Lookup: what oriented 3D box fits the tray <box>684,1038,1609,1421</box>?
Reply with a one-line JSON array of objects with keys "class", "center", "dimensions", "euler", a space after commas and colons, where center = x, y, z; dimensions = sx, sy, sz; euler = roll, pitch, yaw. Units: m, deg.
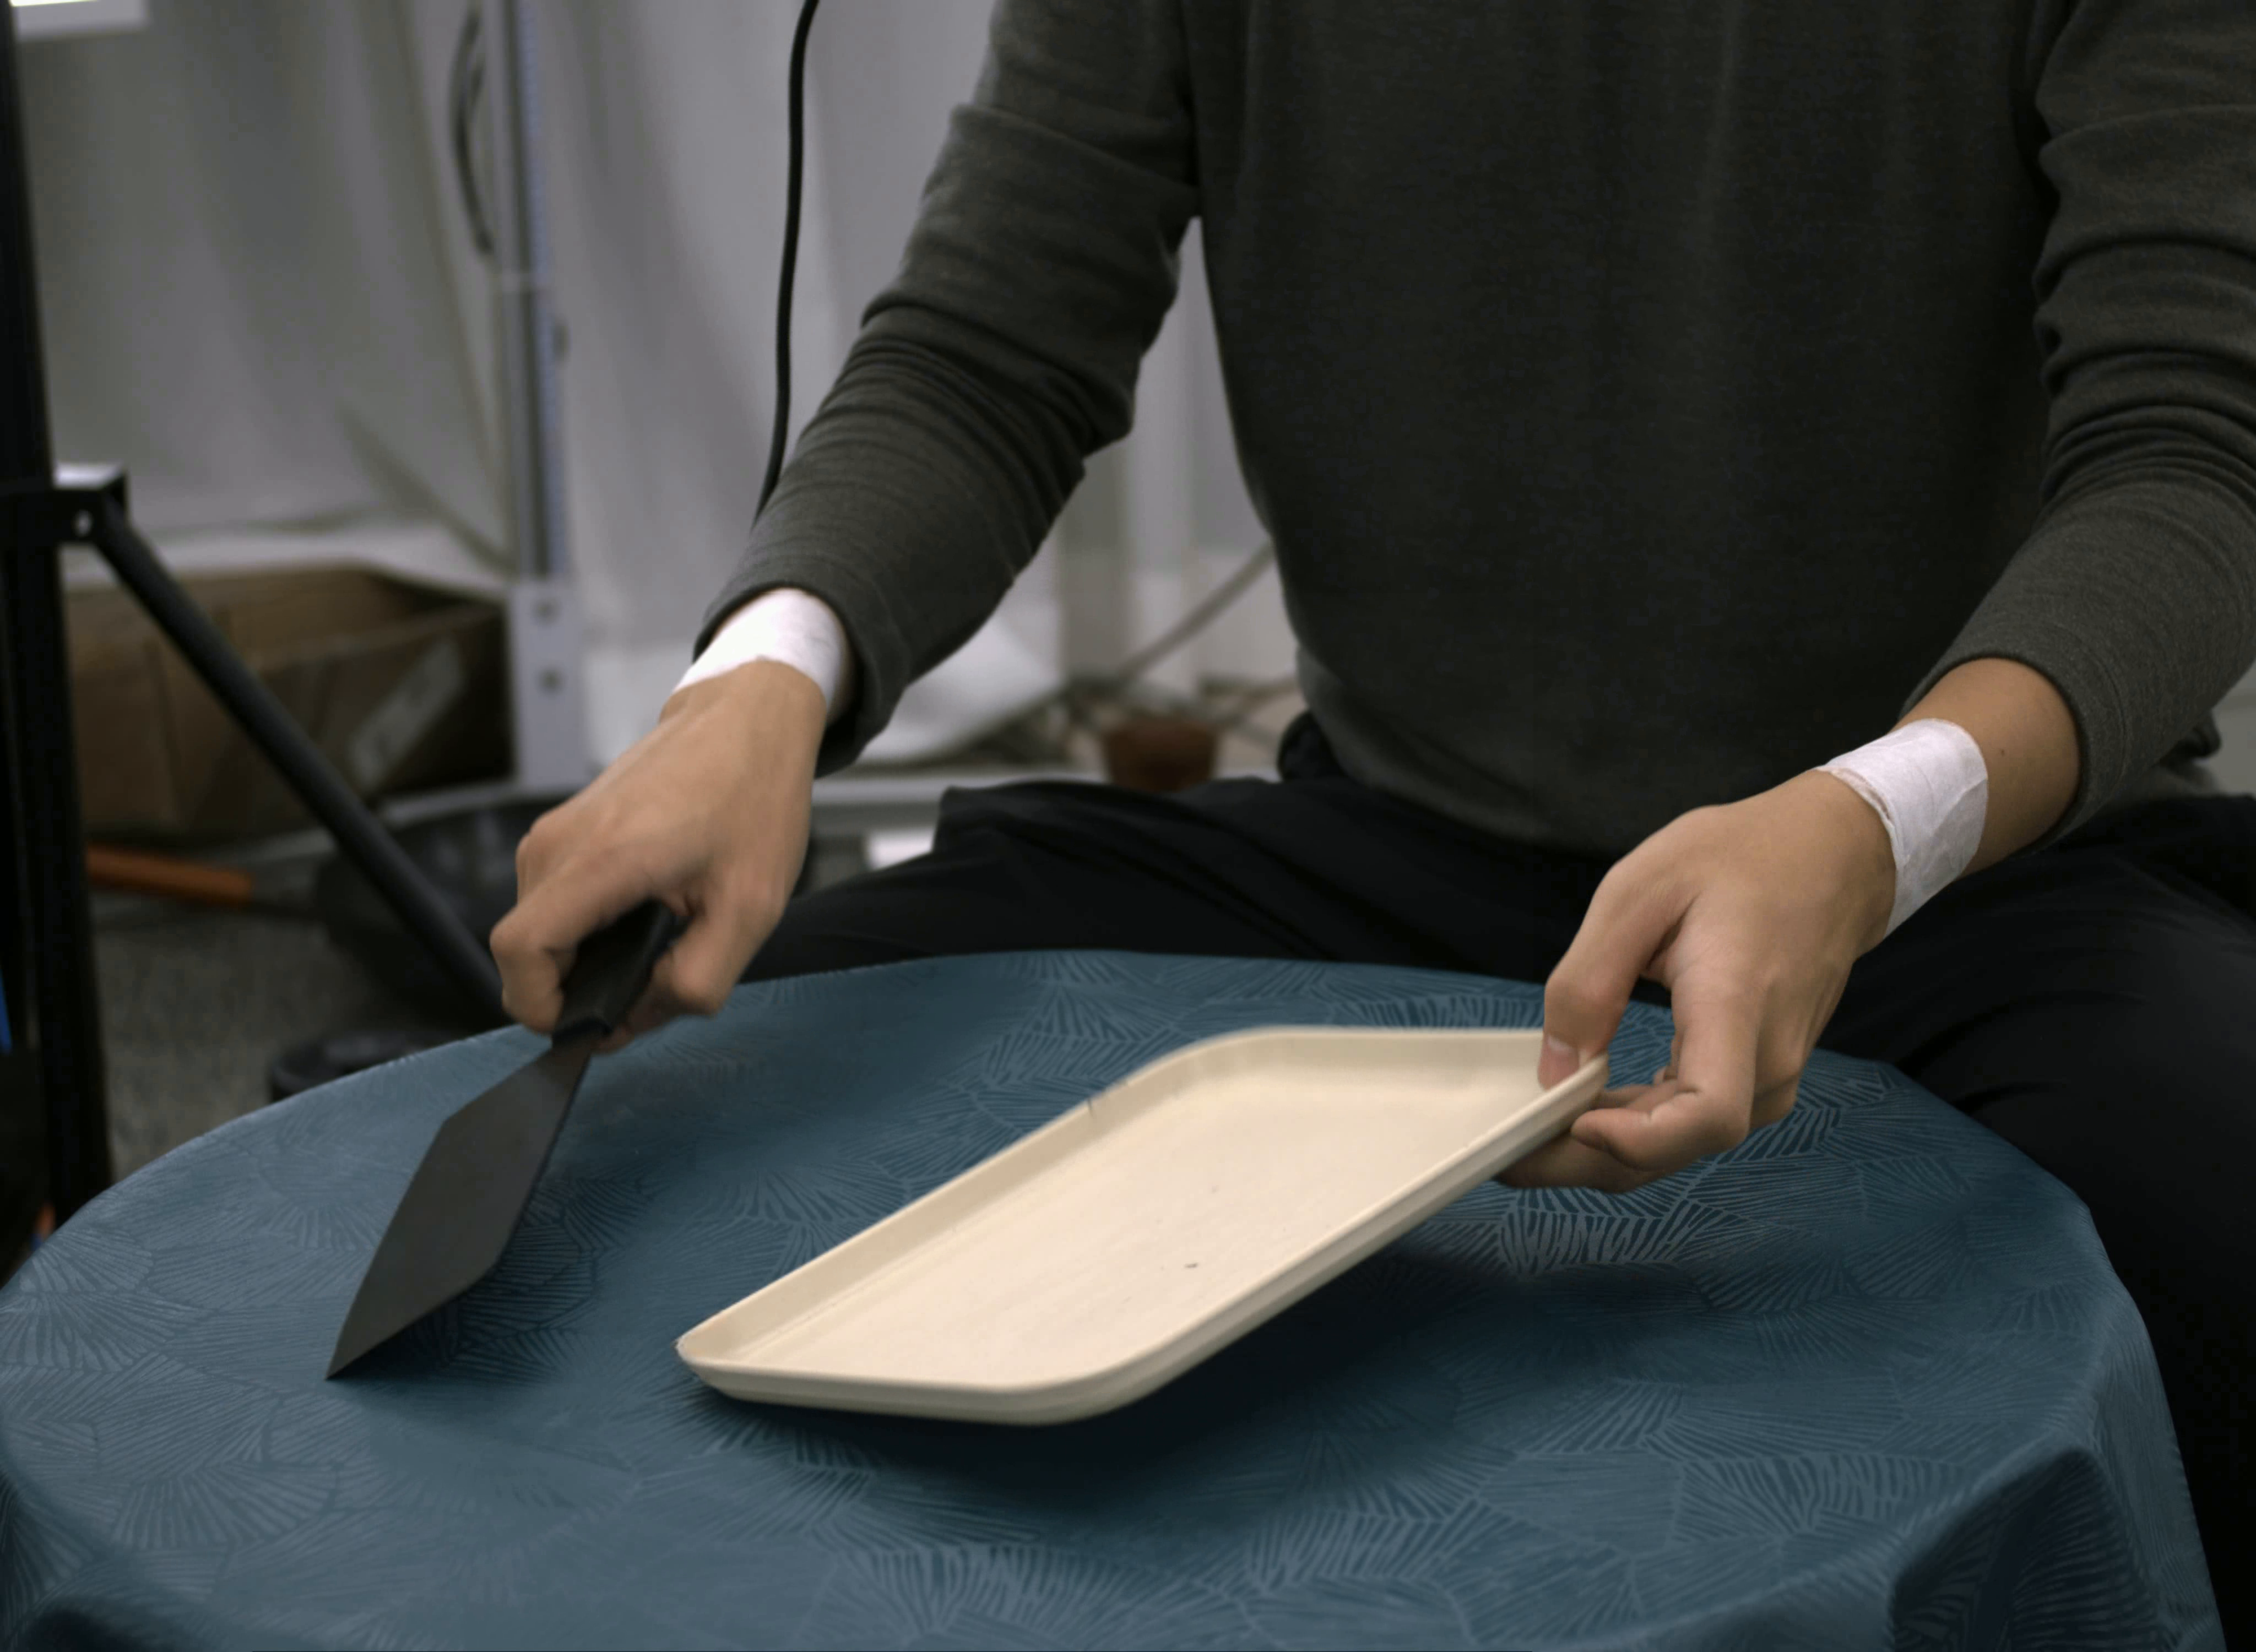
[{"class": "tray", "center": [0.008, 0.108, 1.441], "dimensions": [0.175, 0.017, 0.235], "euler": [-2, 18, 46]}]

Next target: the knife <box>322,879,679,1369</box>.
[{"class": "knife", "center": [-0.179, 0.082, 1.576], "dimensions": [0.081, 0.021, 0.302], "euler": [-29, 15, 19]}]
